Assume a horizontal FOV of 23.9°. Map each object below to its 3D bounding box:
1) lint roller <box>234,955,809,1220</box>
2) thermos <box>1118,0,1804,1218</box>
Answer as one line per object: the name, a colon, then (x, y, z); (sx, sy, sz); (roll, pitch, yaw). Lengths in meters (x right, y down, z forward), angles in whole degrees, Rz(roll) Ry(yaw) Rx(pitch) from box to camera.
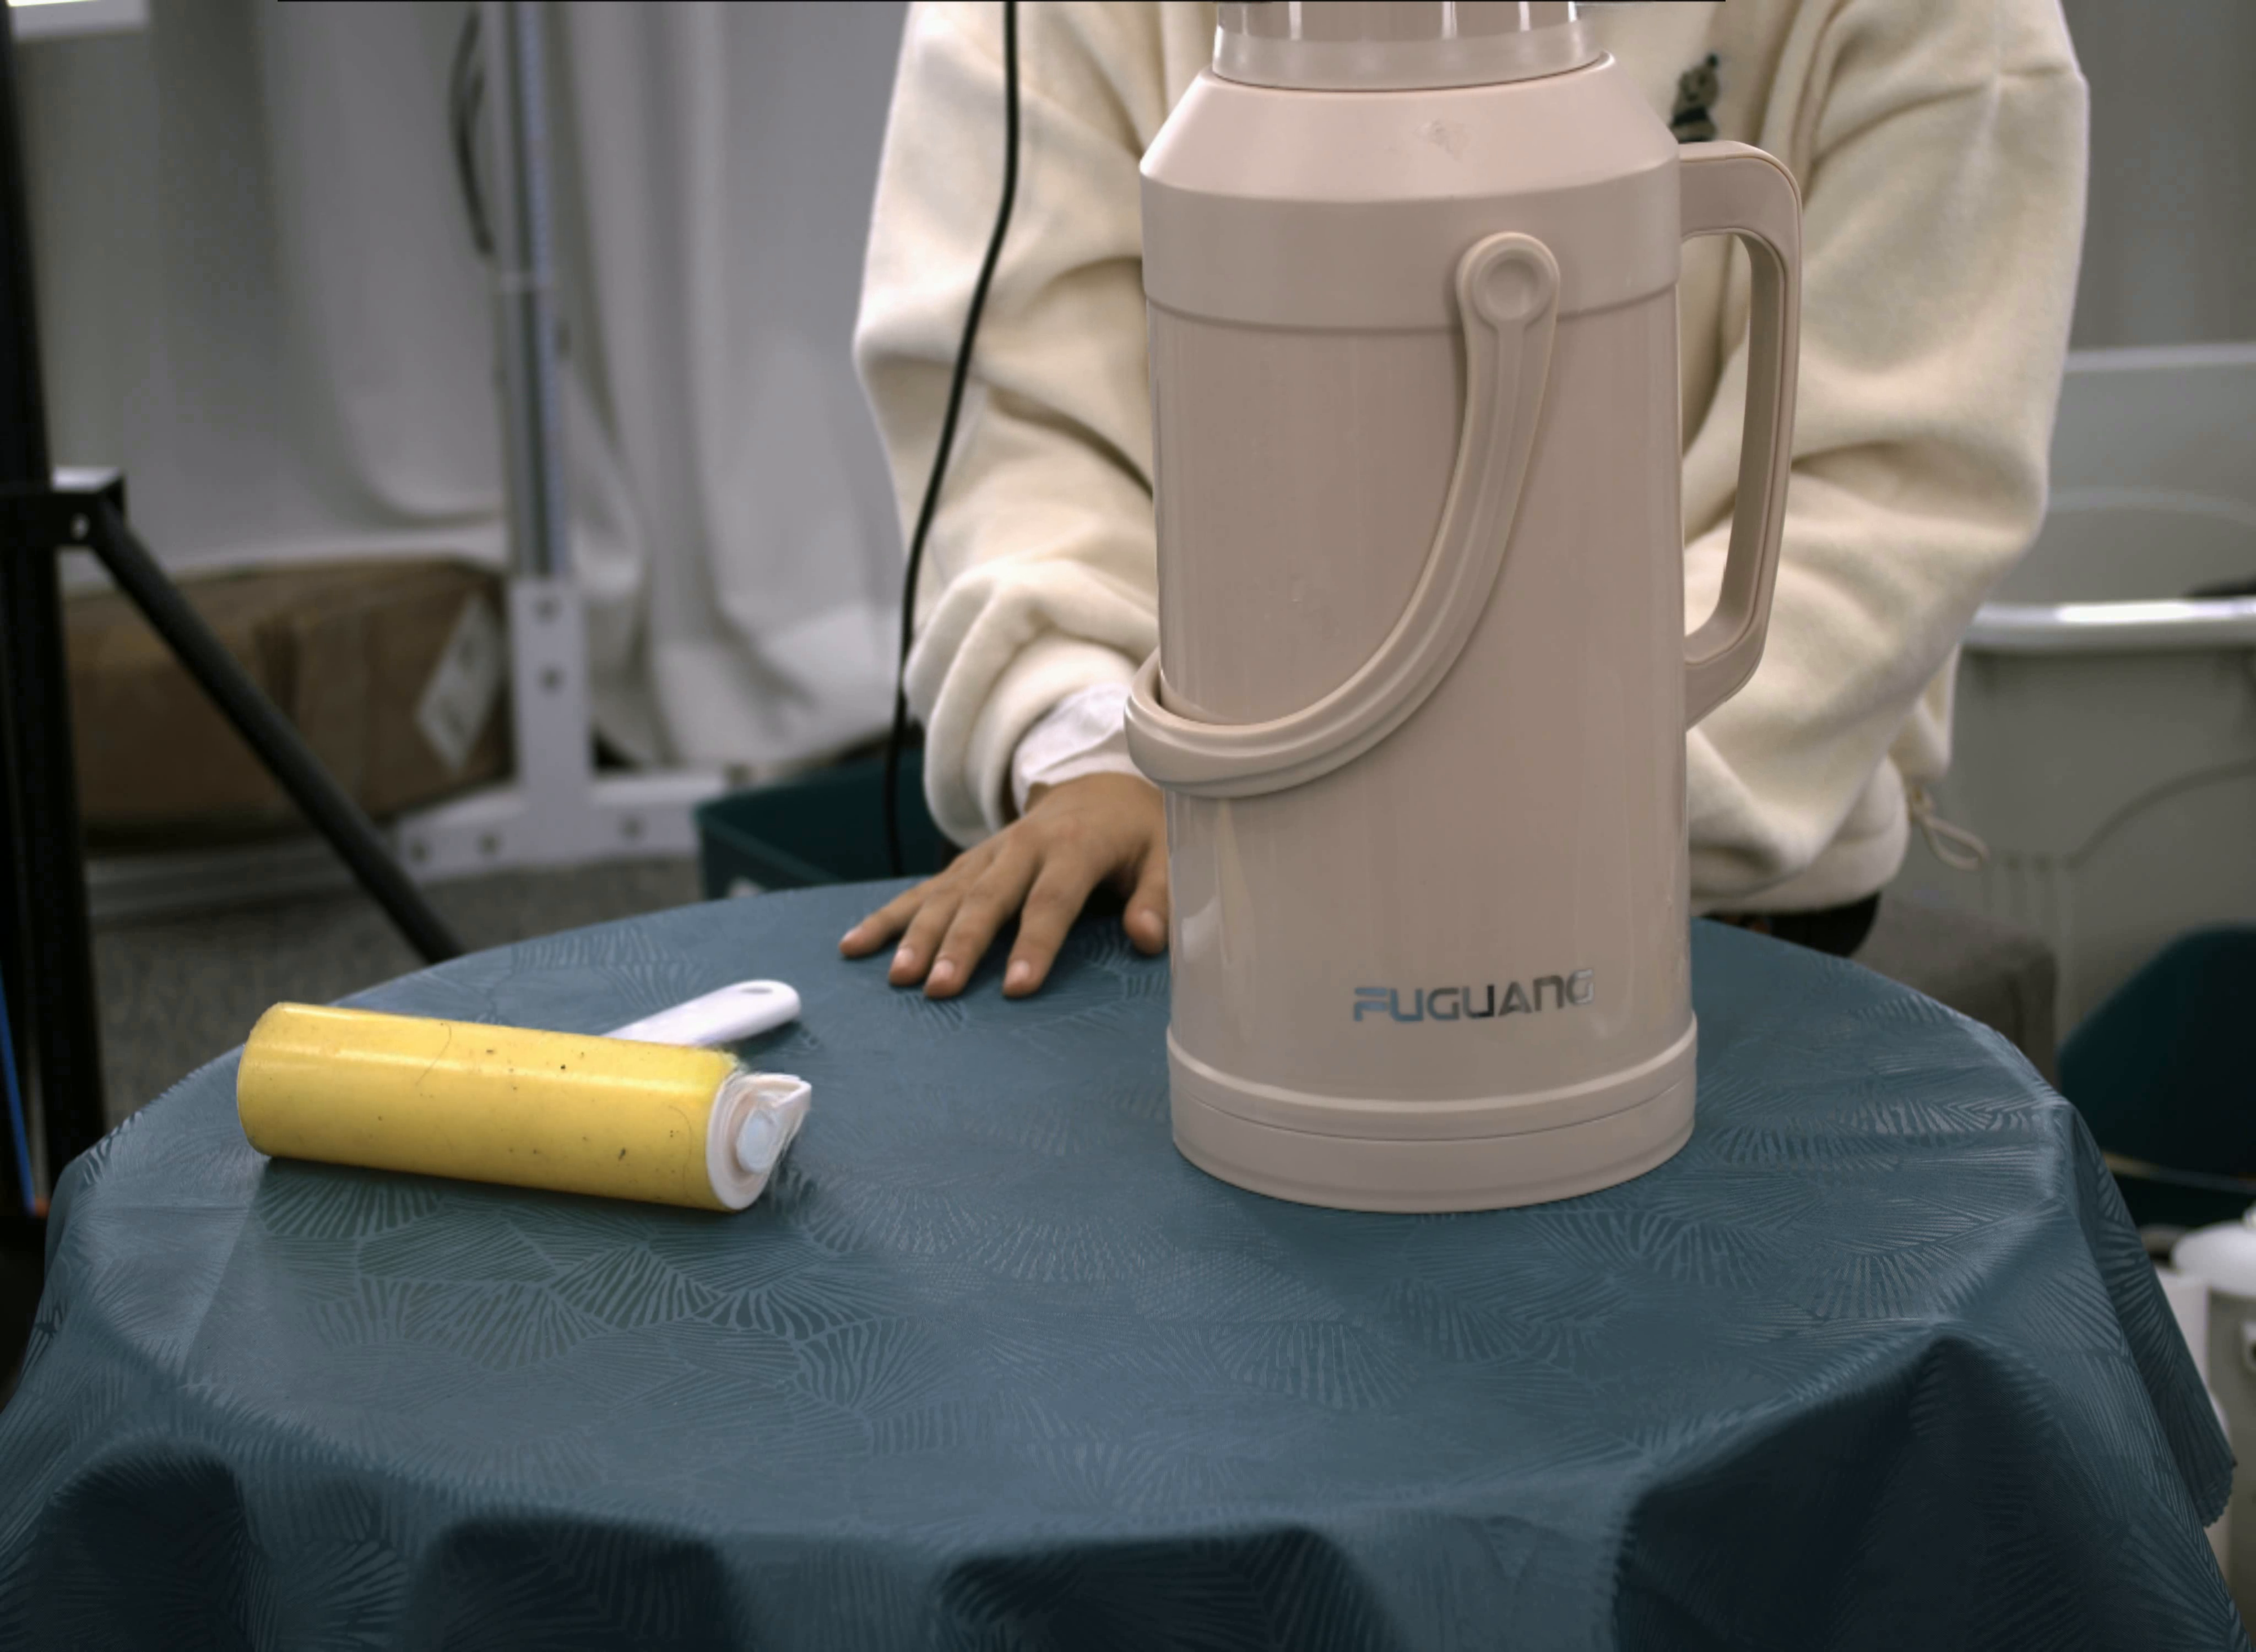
lint roller: (-0.158, 0.062, 1.650); (0.177, 0.051, 0.190); (5, 23, 24)
thermos: (0.098, -0.100, 1.553); (0.204, 0.406, 0.178); (-6, 15, -14)
